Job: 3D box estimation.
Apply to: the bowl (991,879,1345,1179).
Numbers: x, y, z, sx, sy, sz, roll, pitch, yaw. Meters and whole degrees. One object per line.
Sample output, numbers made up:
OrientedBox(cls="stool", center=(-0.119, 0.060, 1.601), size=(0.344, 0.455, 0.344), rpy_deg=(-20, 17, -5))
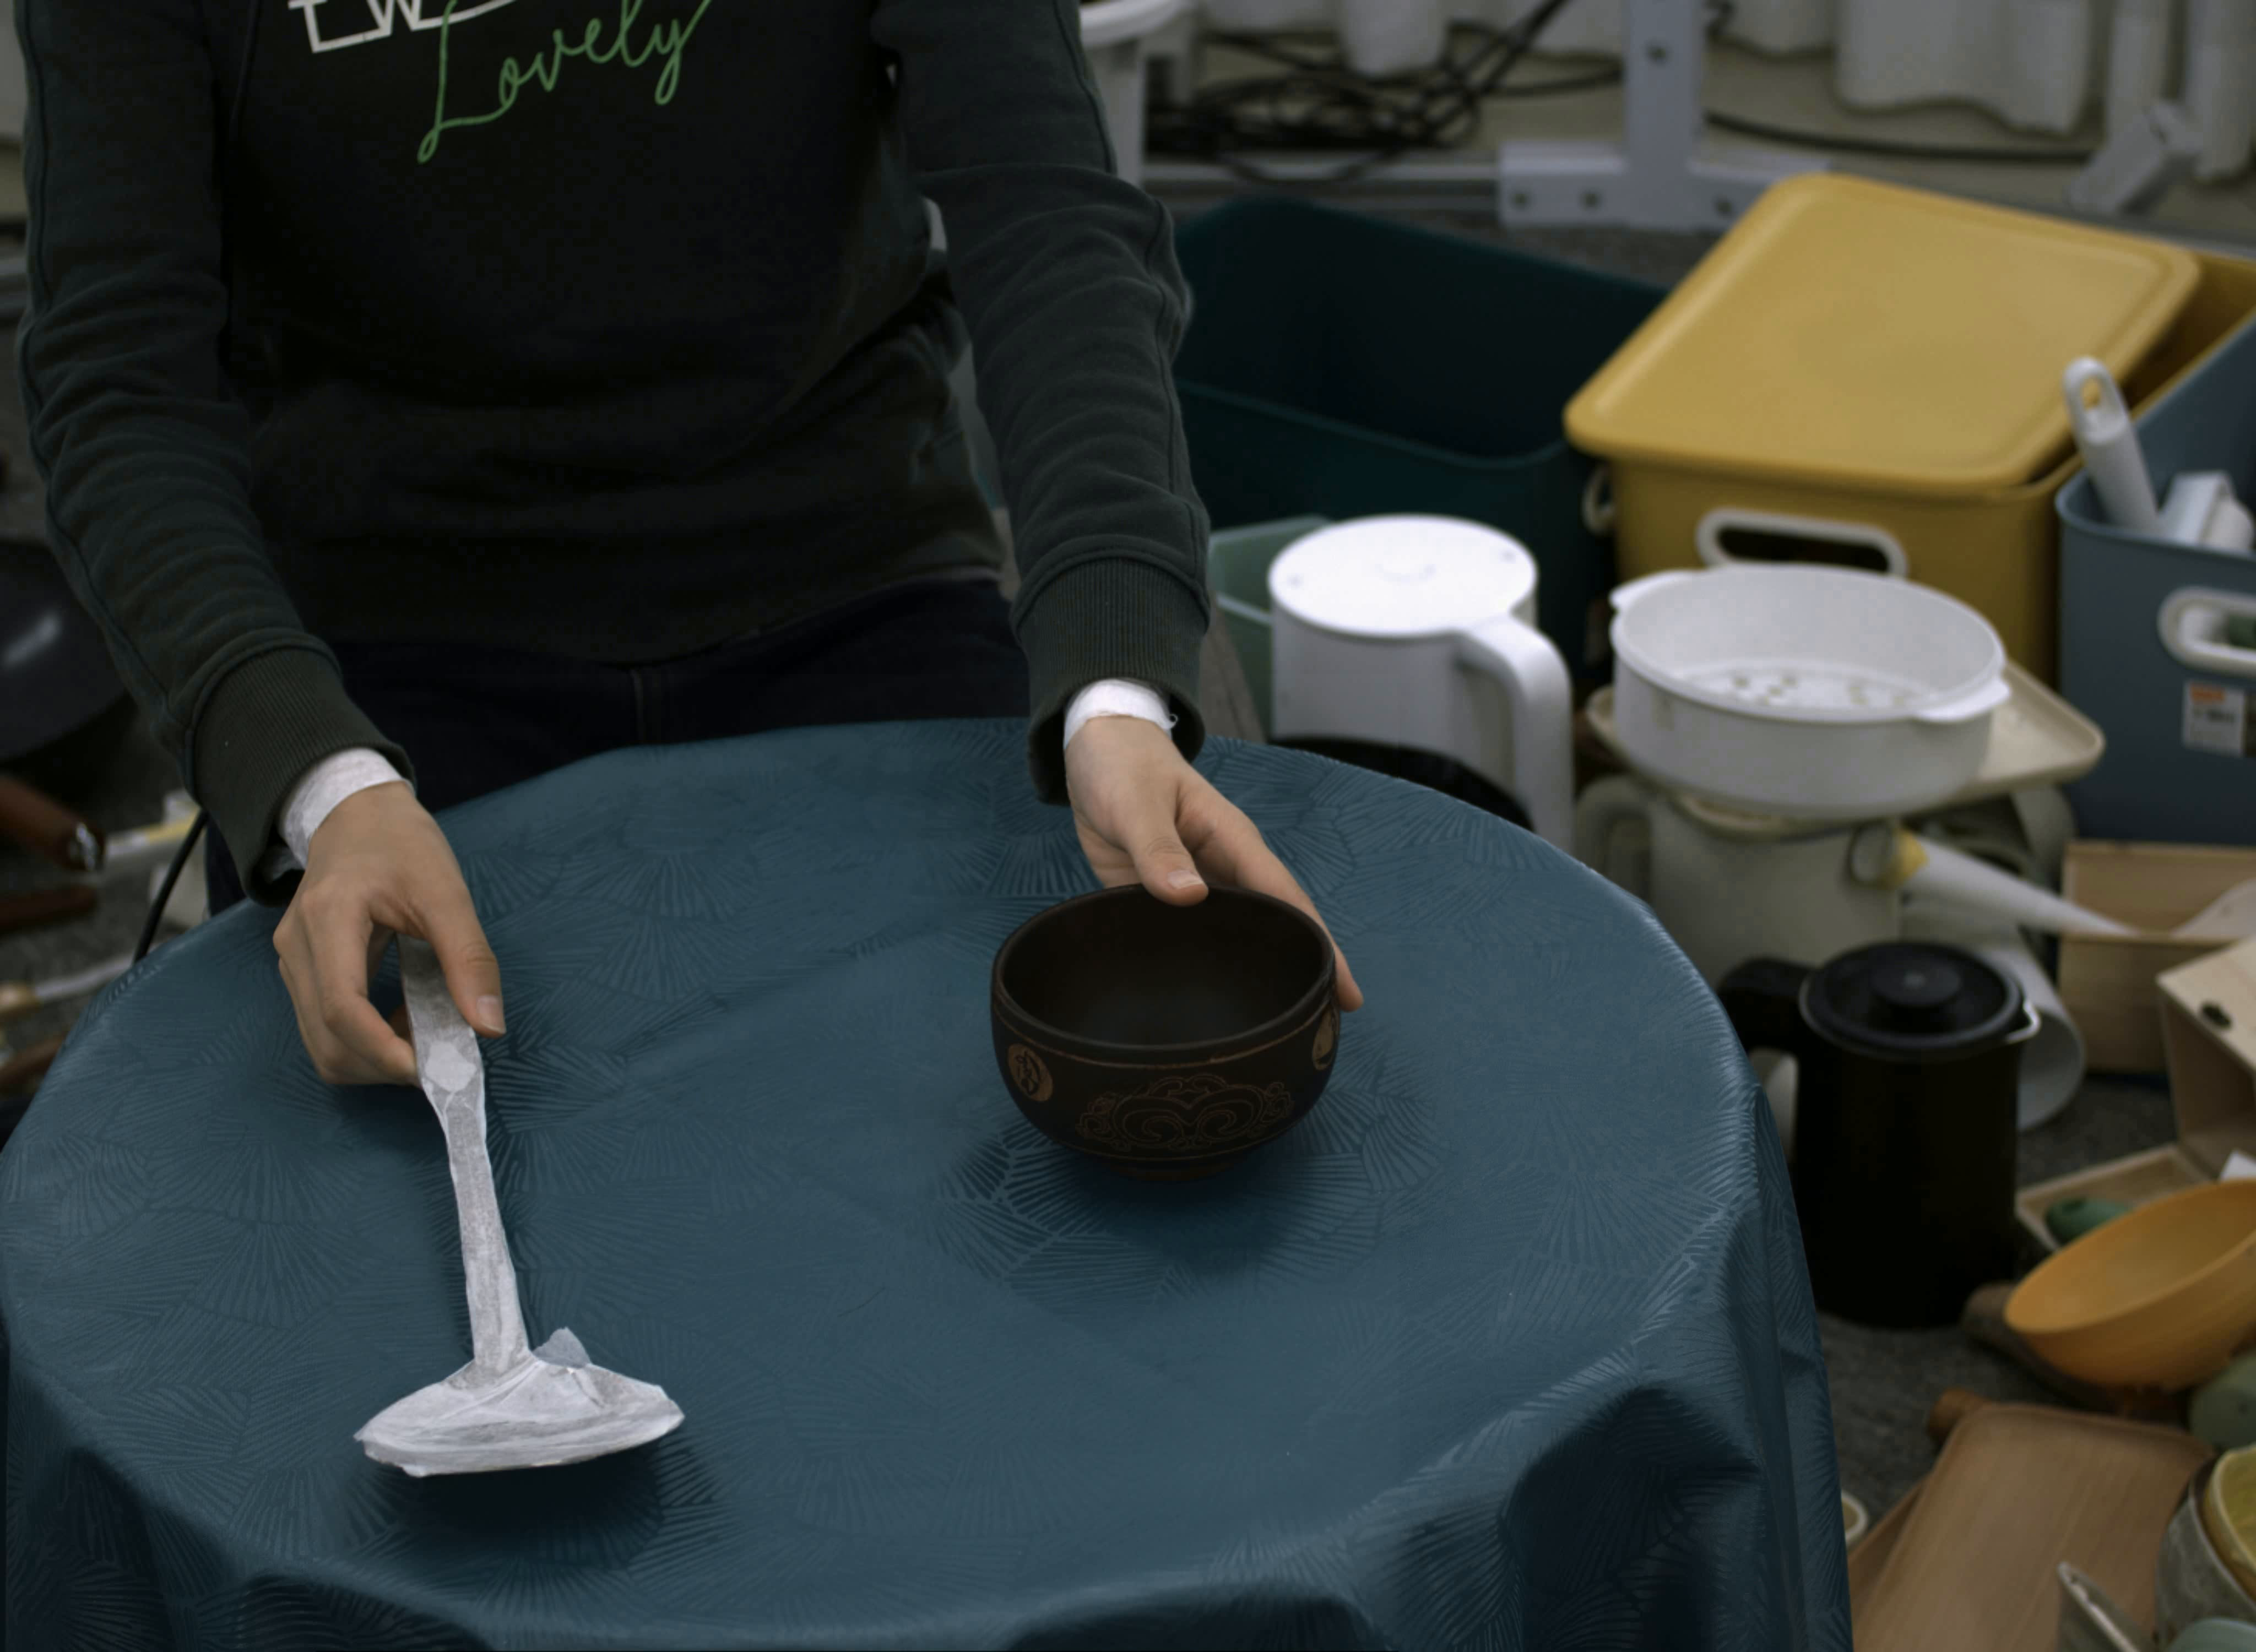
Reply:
OrientedBox(cls="bowl", center=(0.014, 0.074, 1.875), size=(0.117, 0.069, 0.120), rpy_deg=(-1, 26, 1))

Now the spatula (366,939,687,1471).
OrientedBox(cls="spatula", center=(-0.210, 0.116, 1.839), size=(0.098, 0.044, 0.370), rpy_deg=(-6, 31, -8))
